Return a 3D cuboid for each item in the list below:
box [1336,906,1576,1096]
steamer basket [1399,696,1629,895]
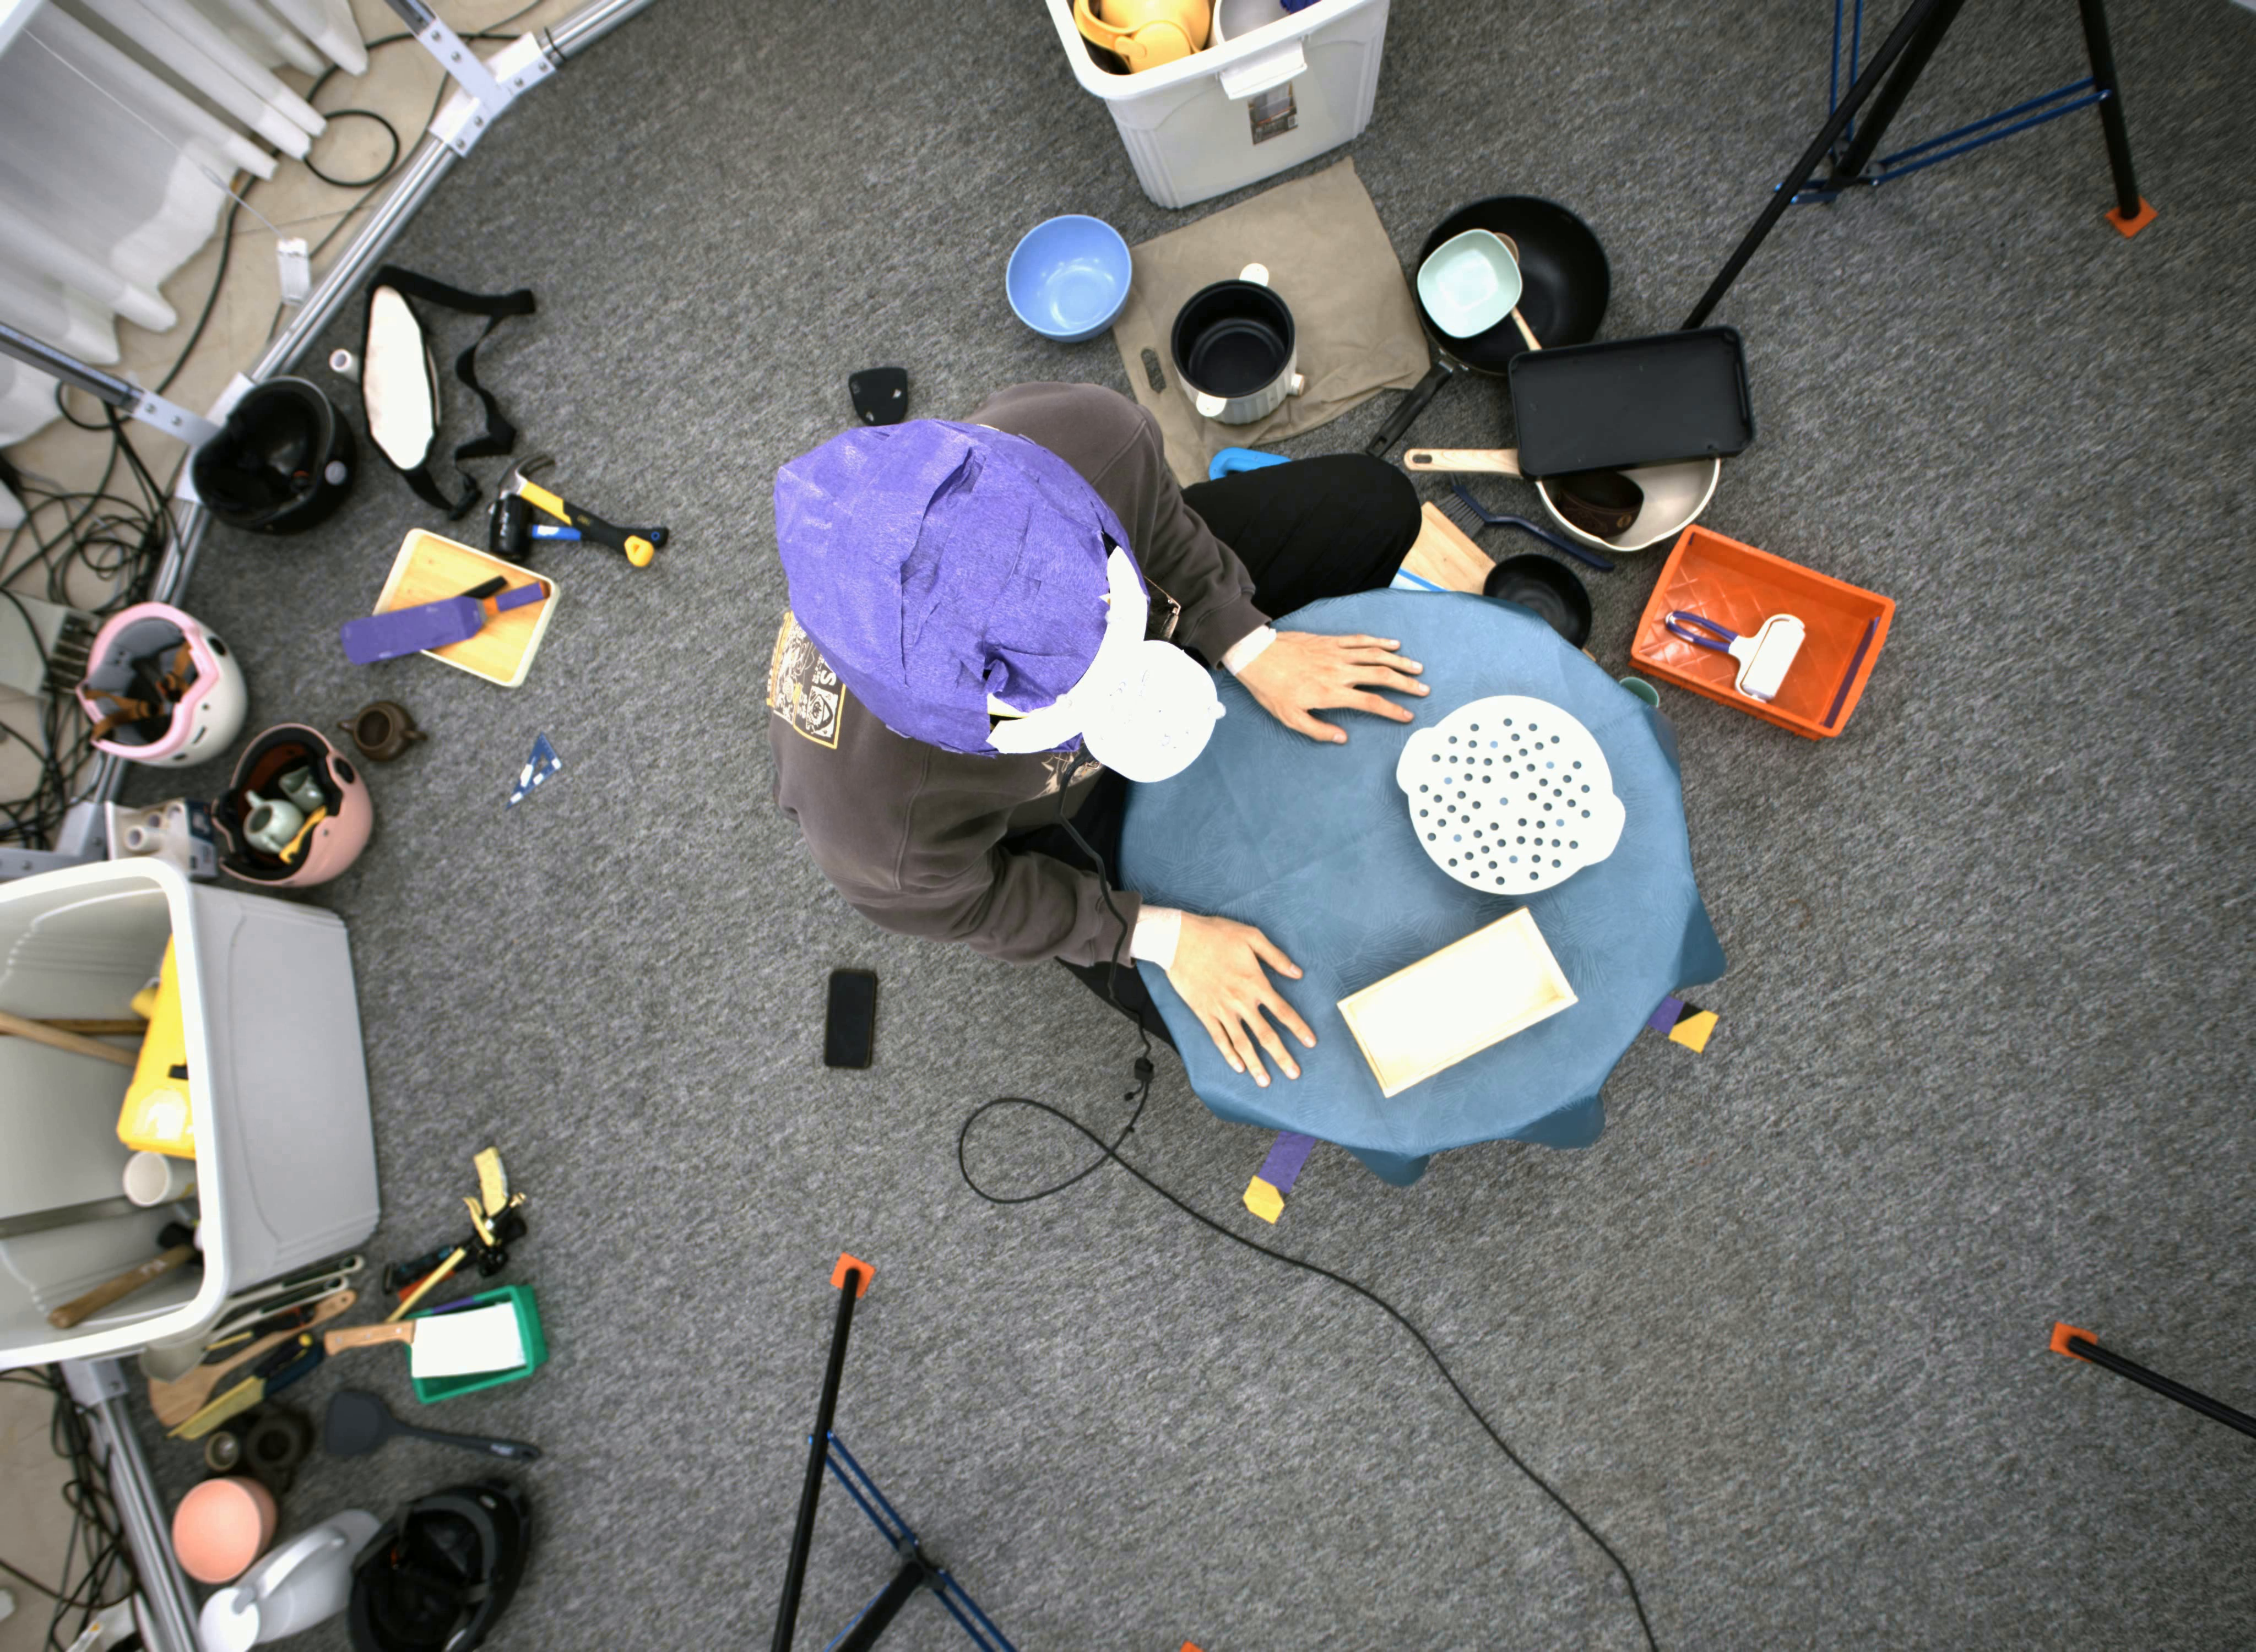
[{"bbox_3d":[0.330,0.175,1.401,0.212,0.080,0.107,-29,81,8],"label":"box"},{"bbox_3d":[0.392,-0.031,1.405,0.230,0.069,0.202,22,91,12],"label":"steamer basket"}]
